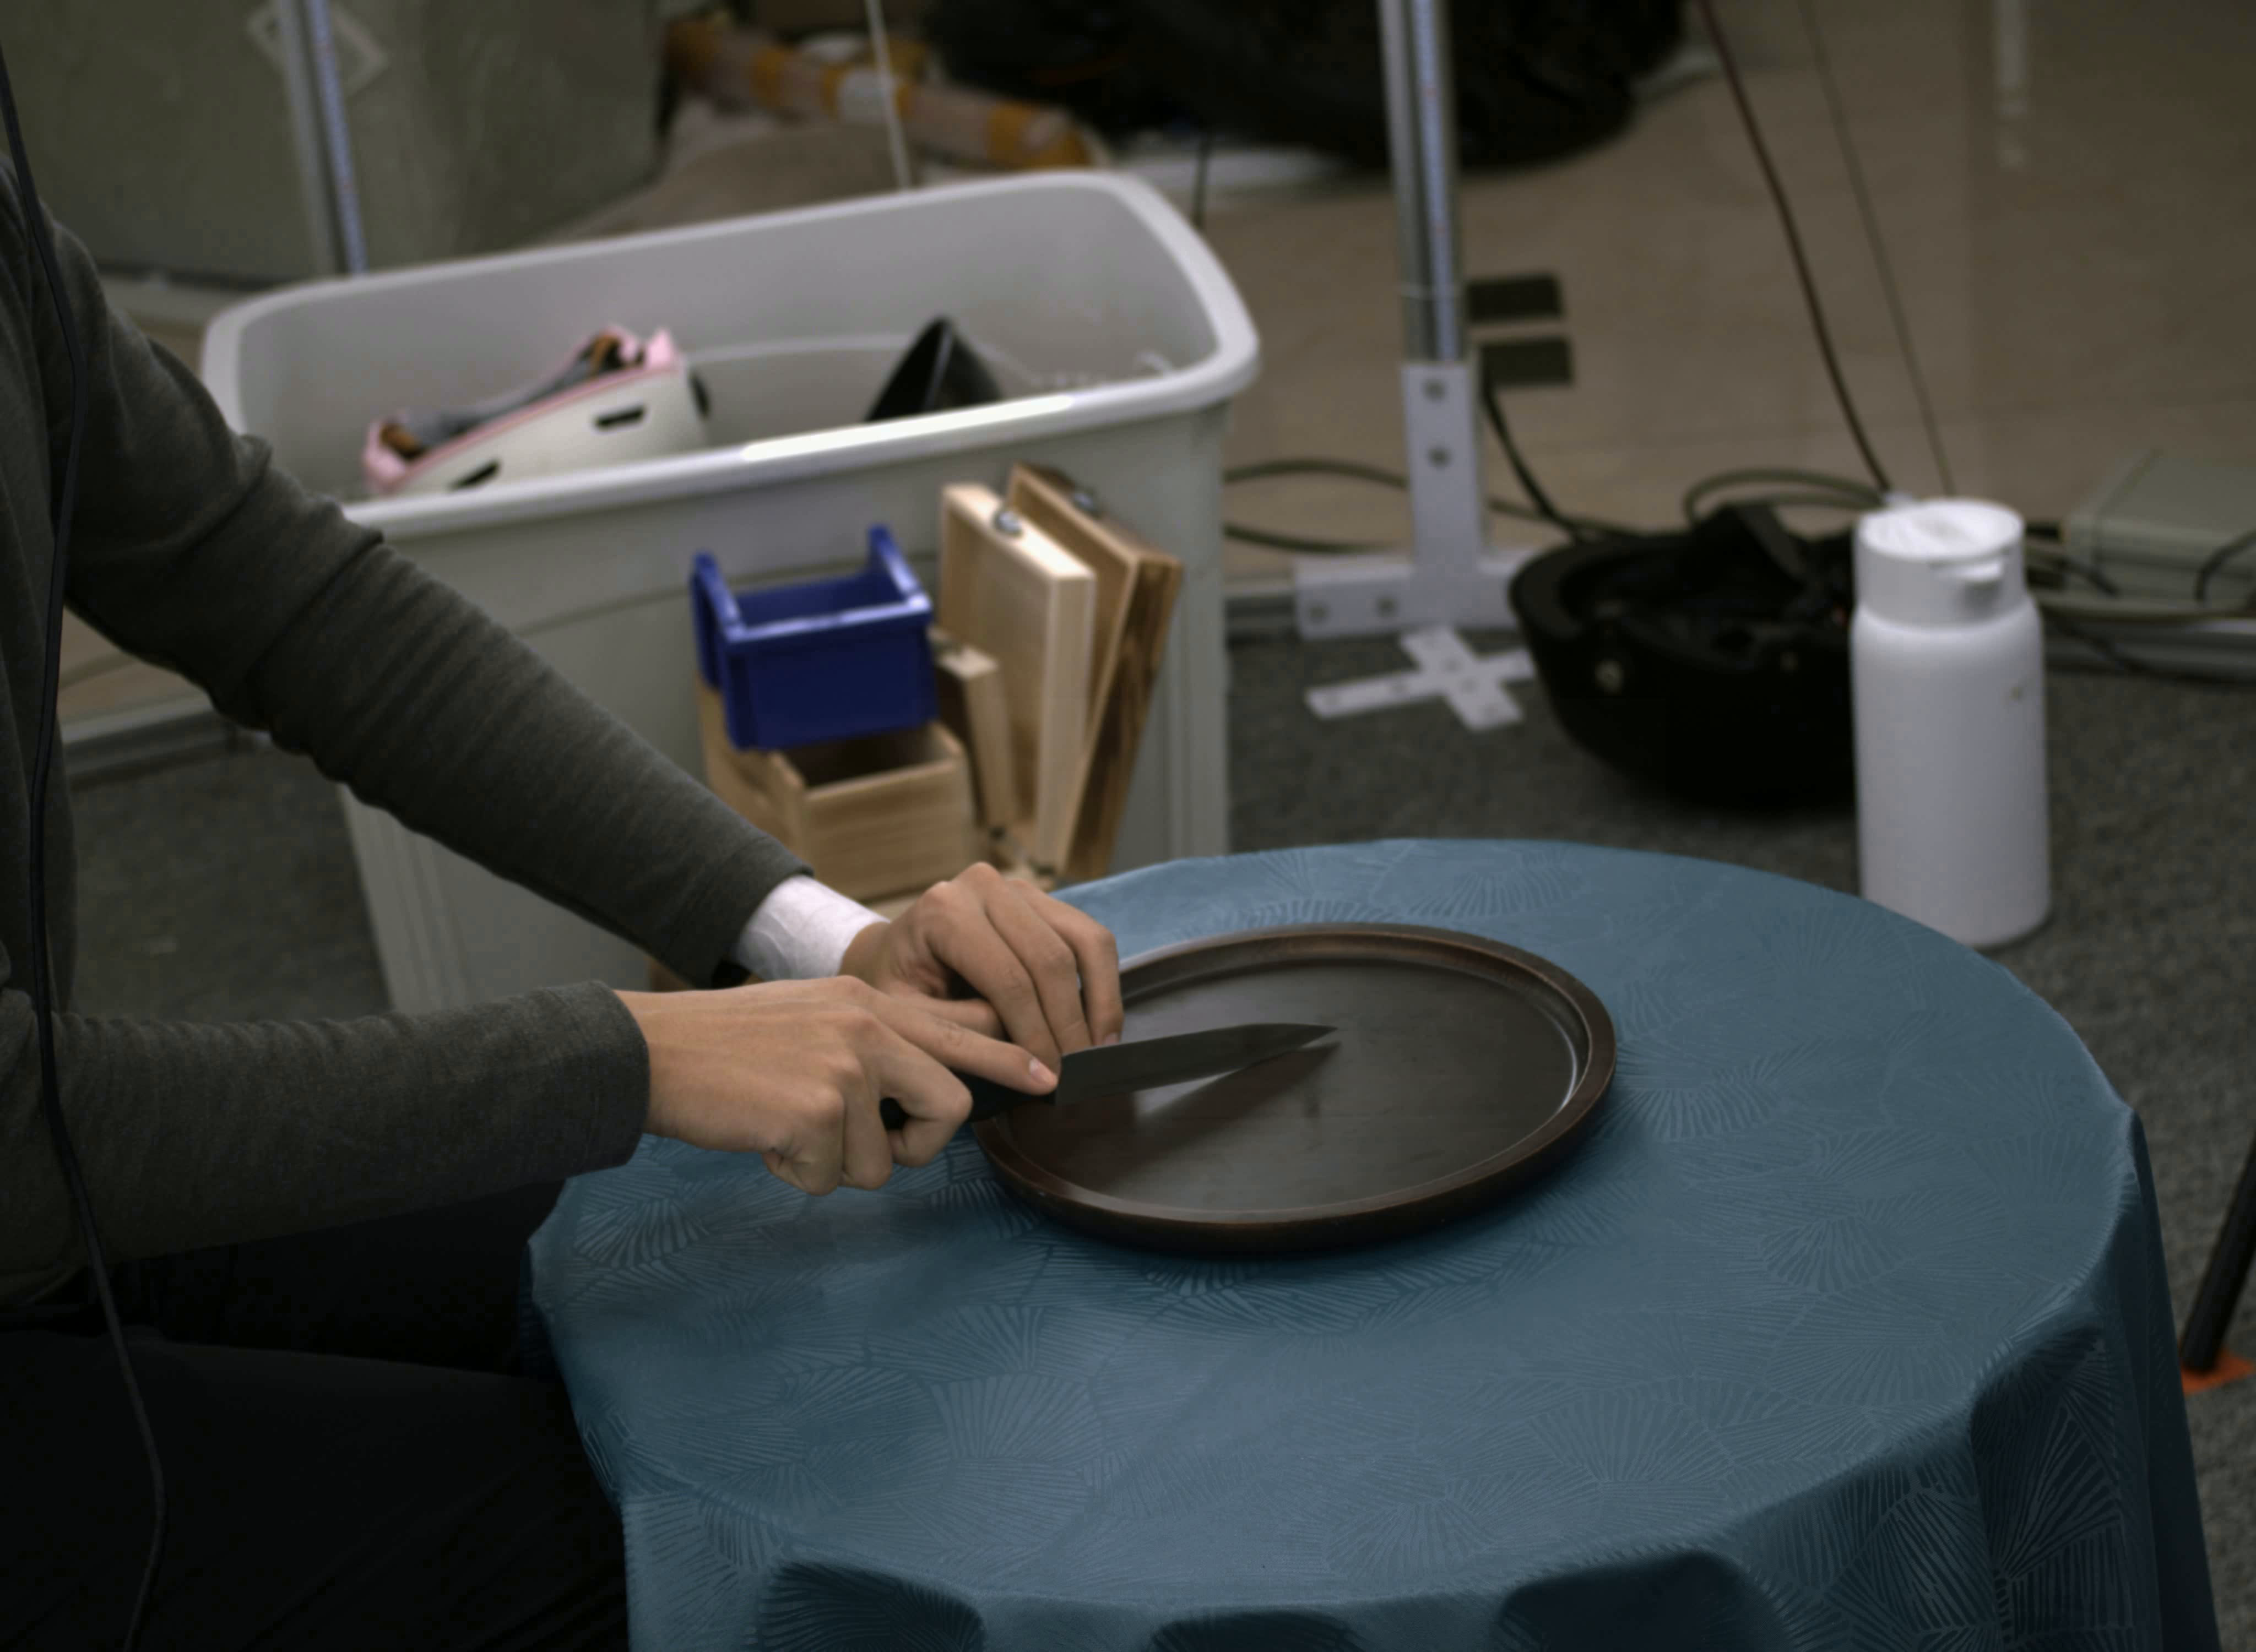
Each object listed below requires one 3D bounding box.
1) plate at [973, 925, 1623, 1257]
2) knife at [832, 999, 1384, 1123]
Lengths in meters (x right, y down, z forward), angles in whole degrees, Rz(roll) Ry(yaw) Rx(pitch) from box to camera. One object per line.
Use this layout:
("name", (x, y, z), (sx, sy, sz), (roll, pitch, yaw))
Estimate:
("plate", (0.066, 0.101, 2.191), (0.254, 0.029, 0.251), (-4, 24, 2))
("knife", (-0.005, 0.086, 2.181), (0.237, 0.025, 0.016), (-9, 18, -26))
